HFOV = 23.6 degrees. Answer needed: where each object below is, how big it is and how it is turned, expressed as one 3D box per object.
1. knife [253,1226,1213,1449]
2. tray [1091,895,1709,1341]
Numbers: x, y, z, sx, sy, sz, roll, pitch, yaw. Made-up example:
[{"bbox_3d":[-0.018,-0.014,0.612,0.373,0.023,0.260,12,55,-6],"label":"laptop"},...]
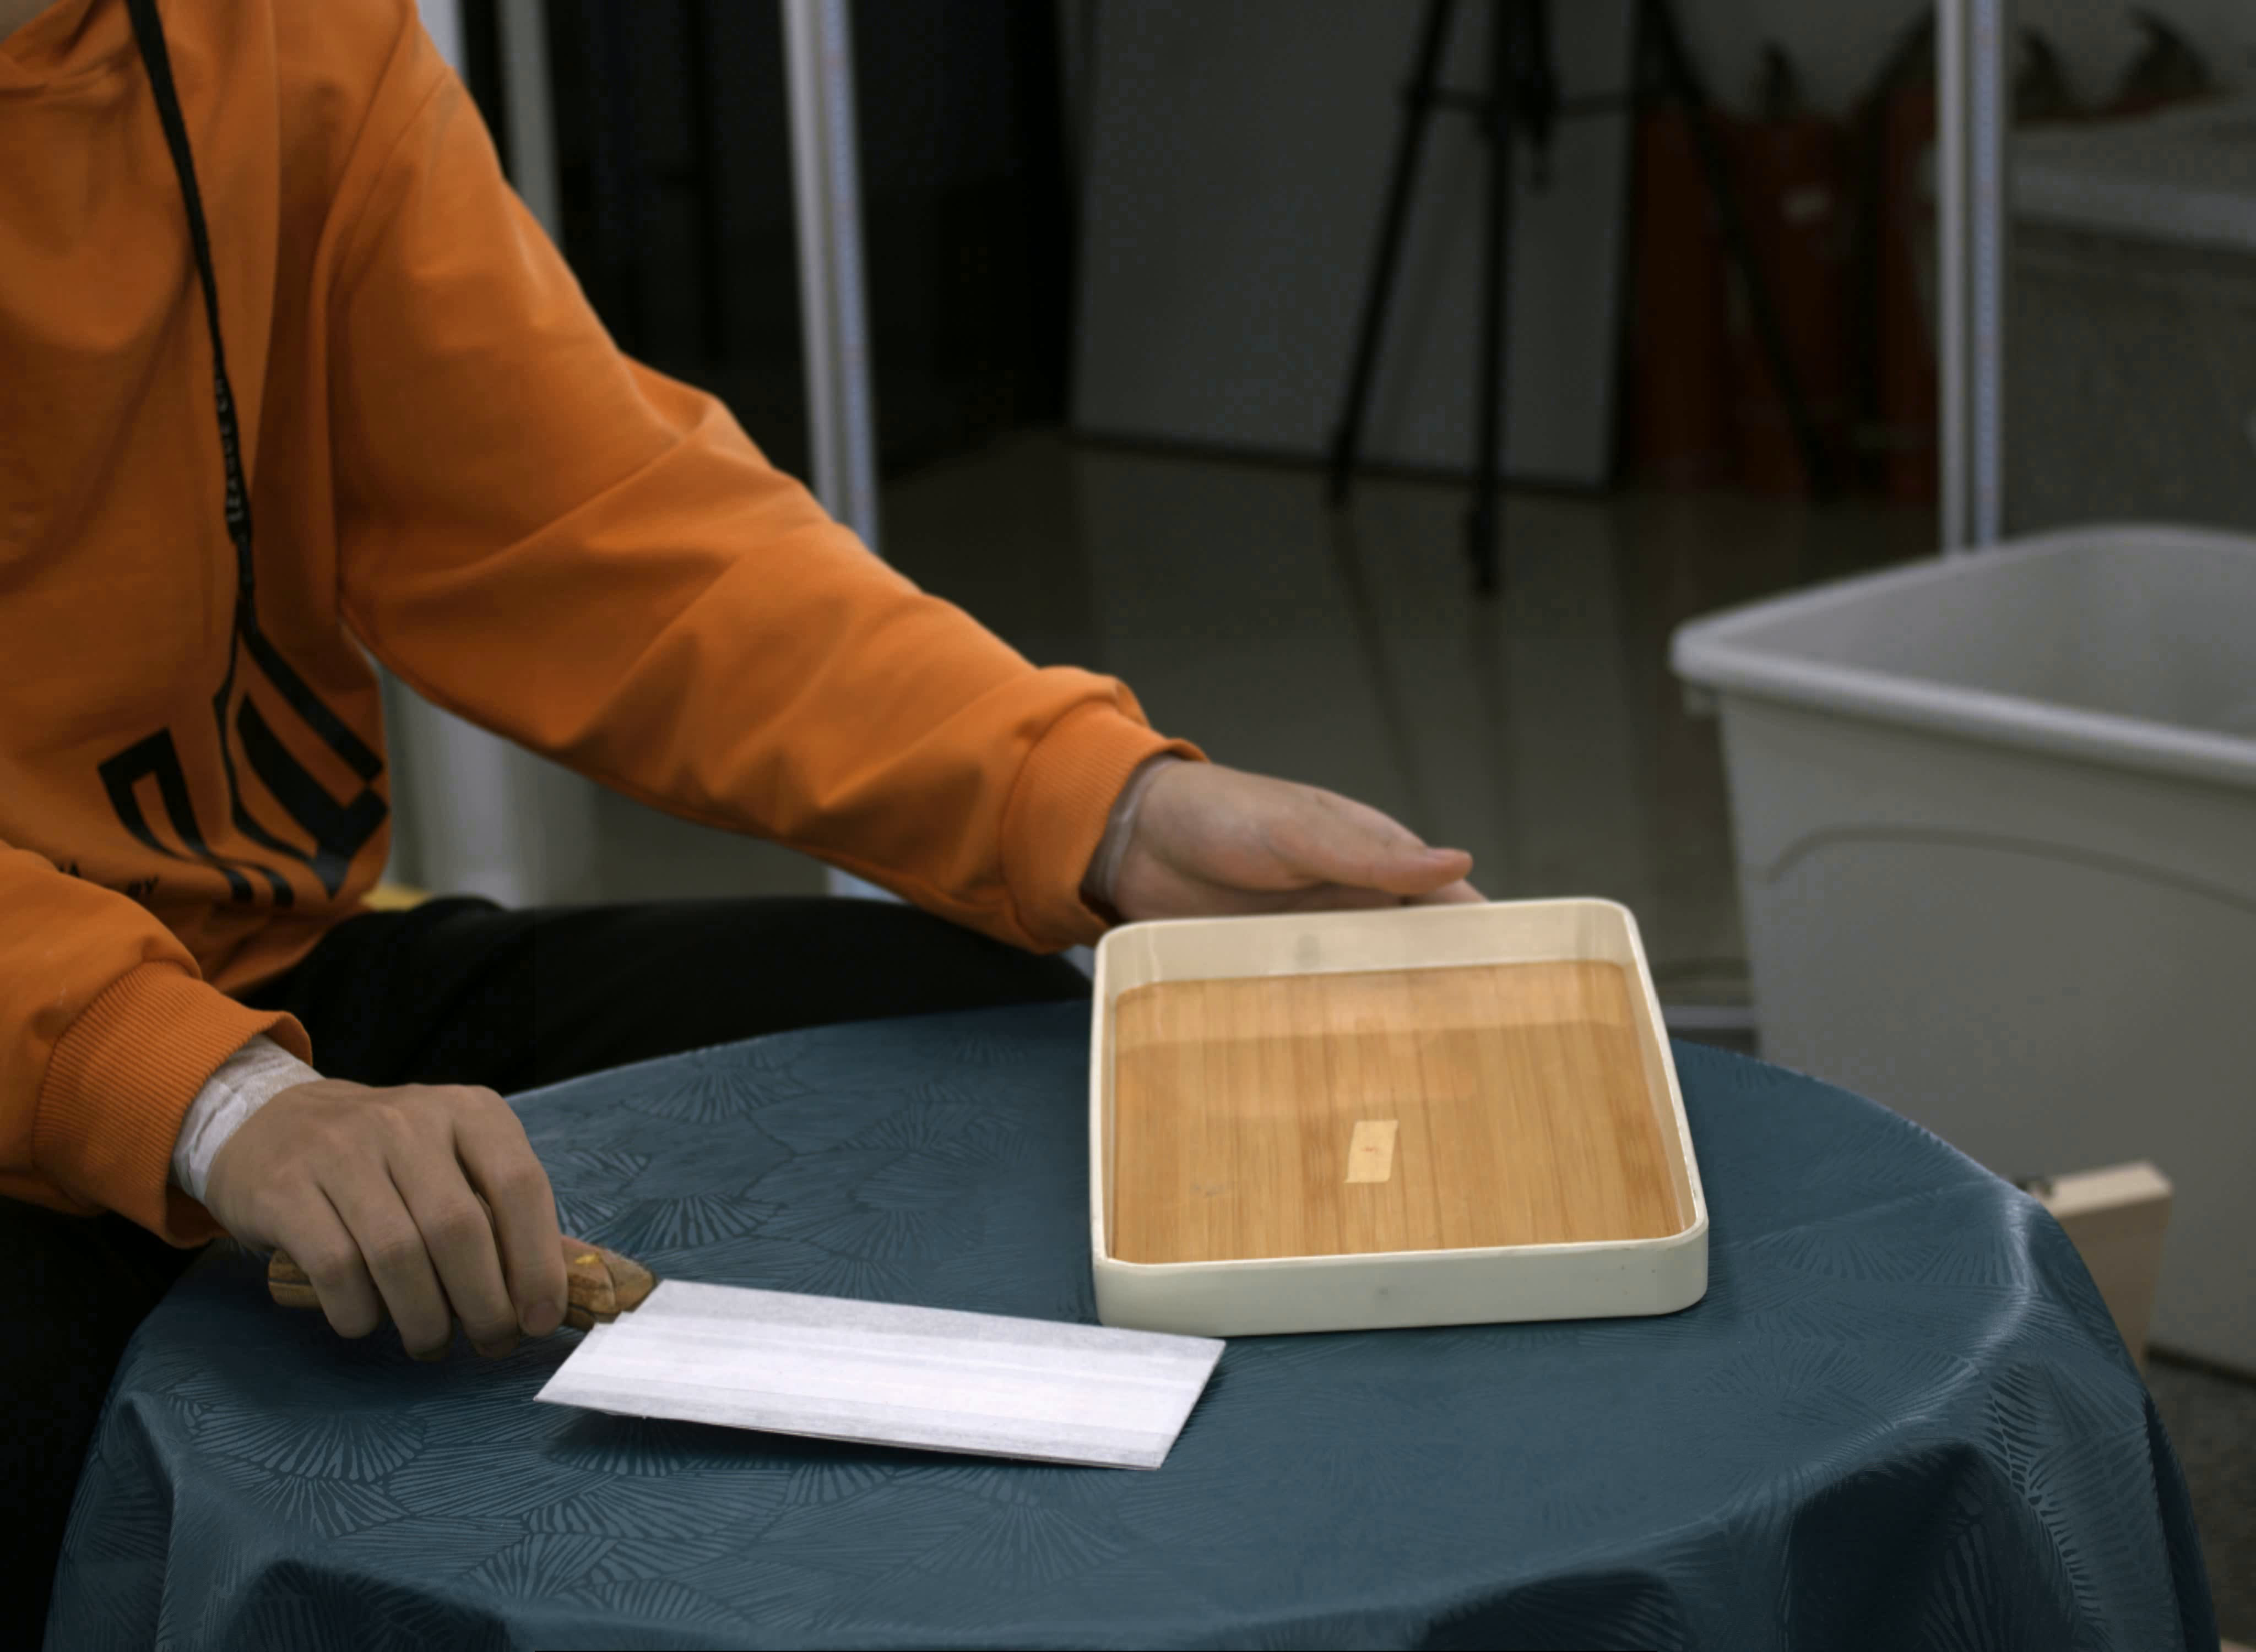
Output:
[{"bbox_3d":[-0.126,0.155,1.603,0.304,0.021,0.092,5,21,15],"label":"knife"},{"bbox_3d":[0.083,0.091,1.757,0.189,0.027,0.301,-4,19,2],"label":"tray"}]
